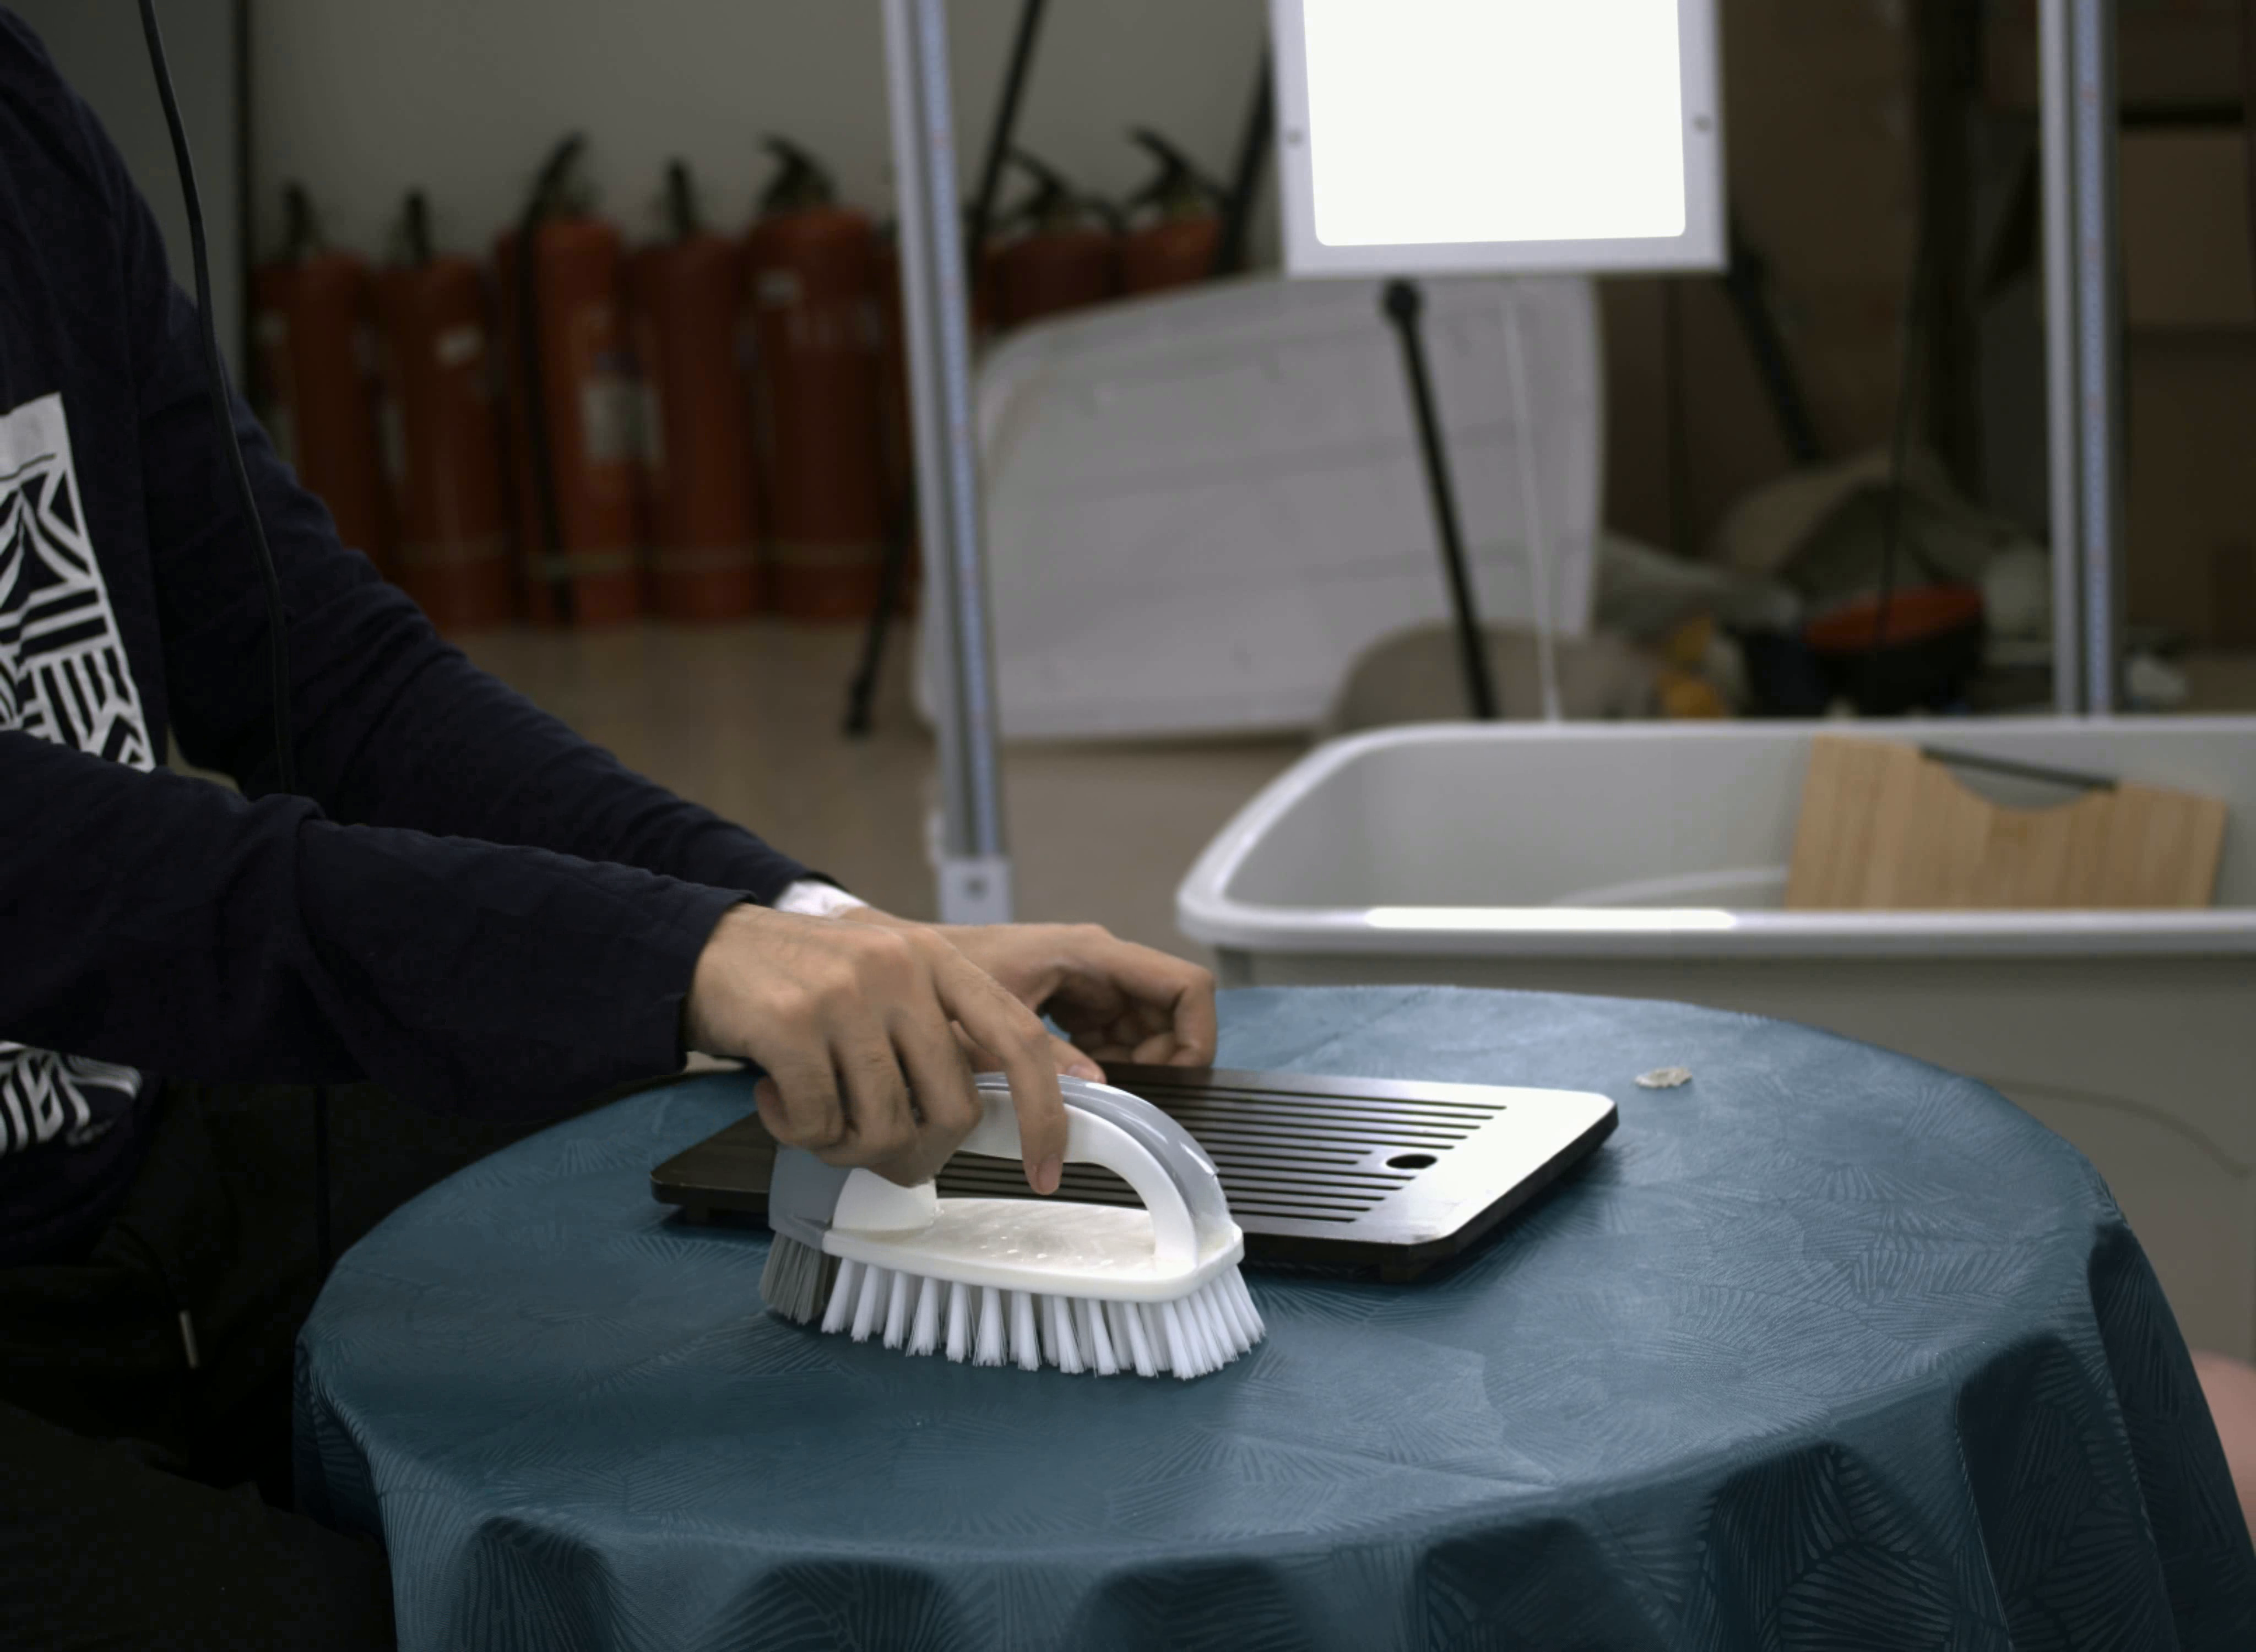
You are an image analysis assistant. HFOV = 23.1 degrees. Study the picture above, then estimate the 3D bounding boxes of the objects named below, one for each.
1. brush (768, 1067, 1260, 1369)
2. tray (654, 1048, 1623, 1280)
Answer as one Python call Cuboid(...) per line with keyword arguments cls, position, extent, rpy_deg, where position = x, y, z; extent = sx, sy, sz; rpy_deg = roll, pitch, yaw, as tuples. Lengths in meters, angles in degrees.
Cuboid(cls="brush", position=(-0.047, 0.122, 1.748), extent=(0.179, 0.094, 0.060), rpy_deg=(2, 18, 33))
Cuboid(cls="tray", position=(0.004, 0.115, 1.908), extent=(0.311, 0.019, 0.166), rpy_deg=(2, 15, 29))
